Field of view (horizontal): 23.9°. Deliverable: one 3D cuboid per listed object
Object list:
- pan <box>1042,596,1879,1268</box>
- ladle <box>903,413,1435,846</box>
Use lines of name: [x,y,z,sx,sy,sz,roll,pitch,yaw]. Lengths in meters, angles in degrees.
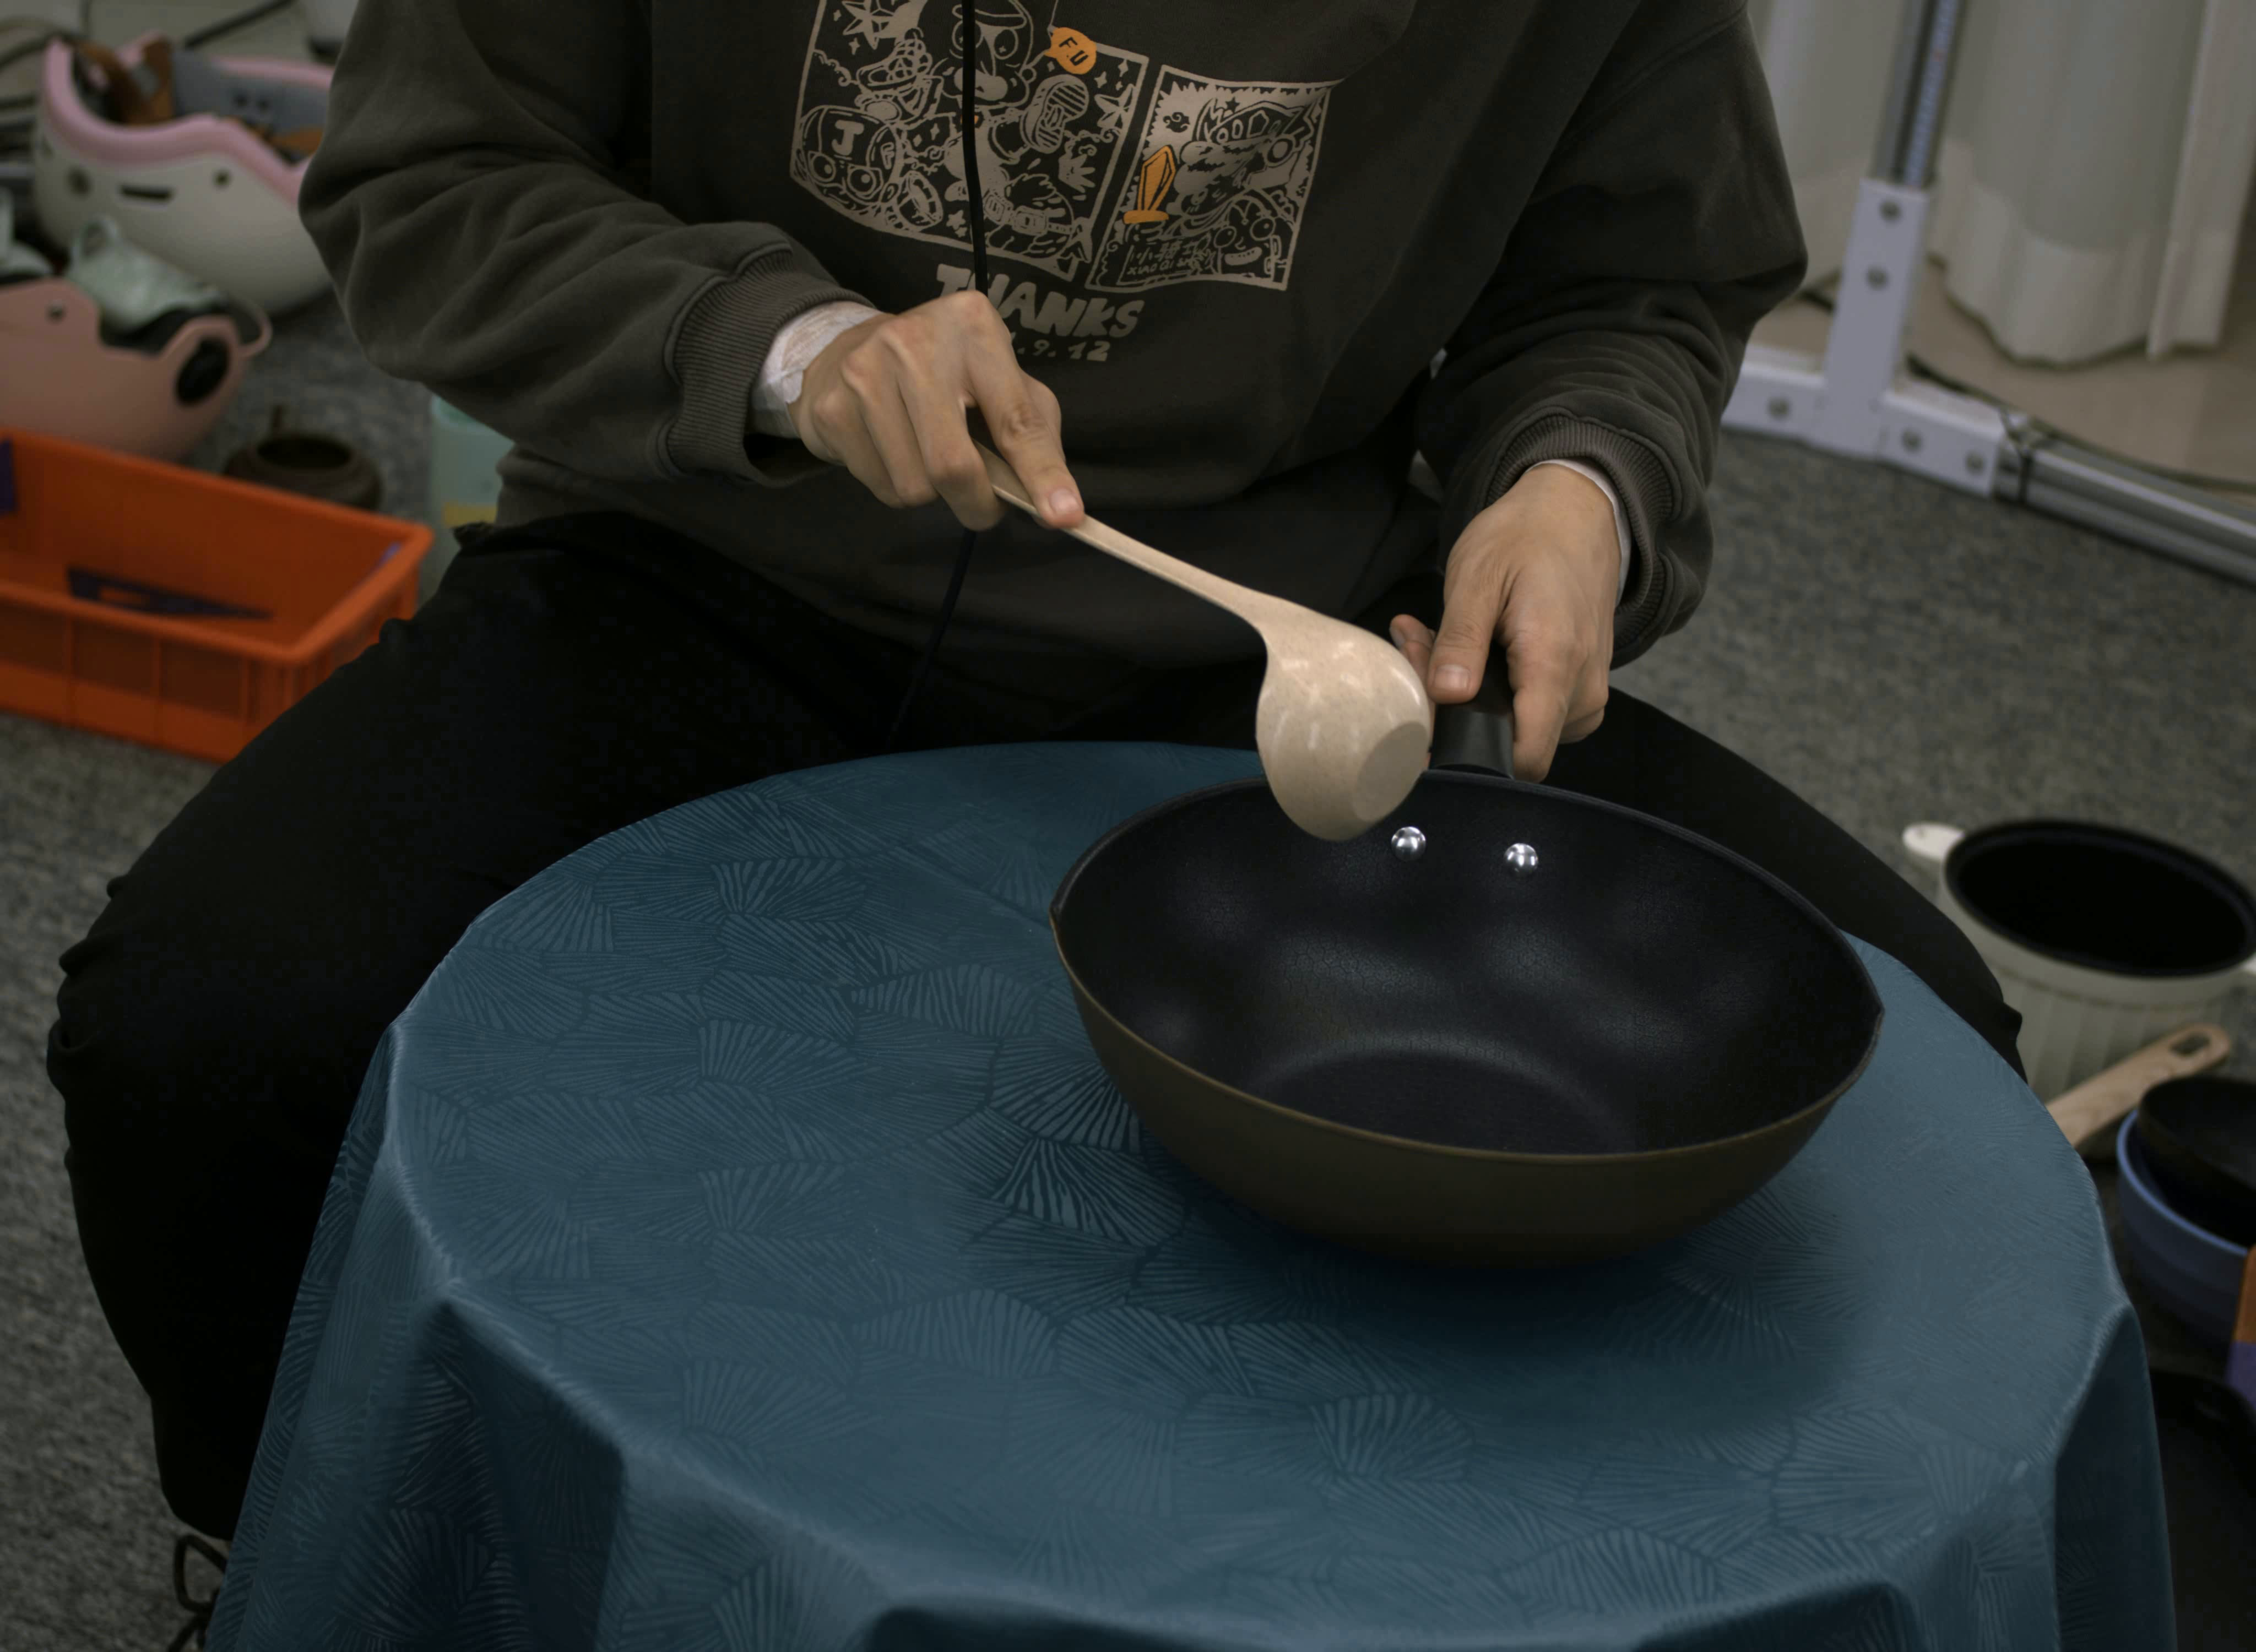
pan: [0.116,0.038,1.909,0.287,0.086,0.465,7,25,2]
ladle: [0.006,-0.071,1.918,0.072,0.072,0.256,-26,41,-35]
